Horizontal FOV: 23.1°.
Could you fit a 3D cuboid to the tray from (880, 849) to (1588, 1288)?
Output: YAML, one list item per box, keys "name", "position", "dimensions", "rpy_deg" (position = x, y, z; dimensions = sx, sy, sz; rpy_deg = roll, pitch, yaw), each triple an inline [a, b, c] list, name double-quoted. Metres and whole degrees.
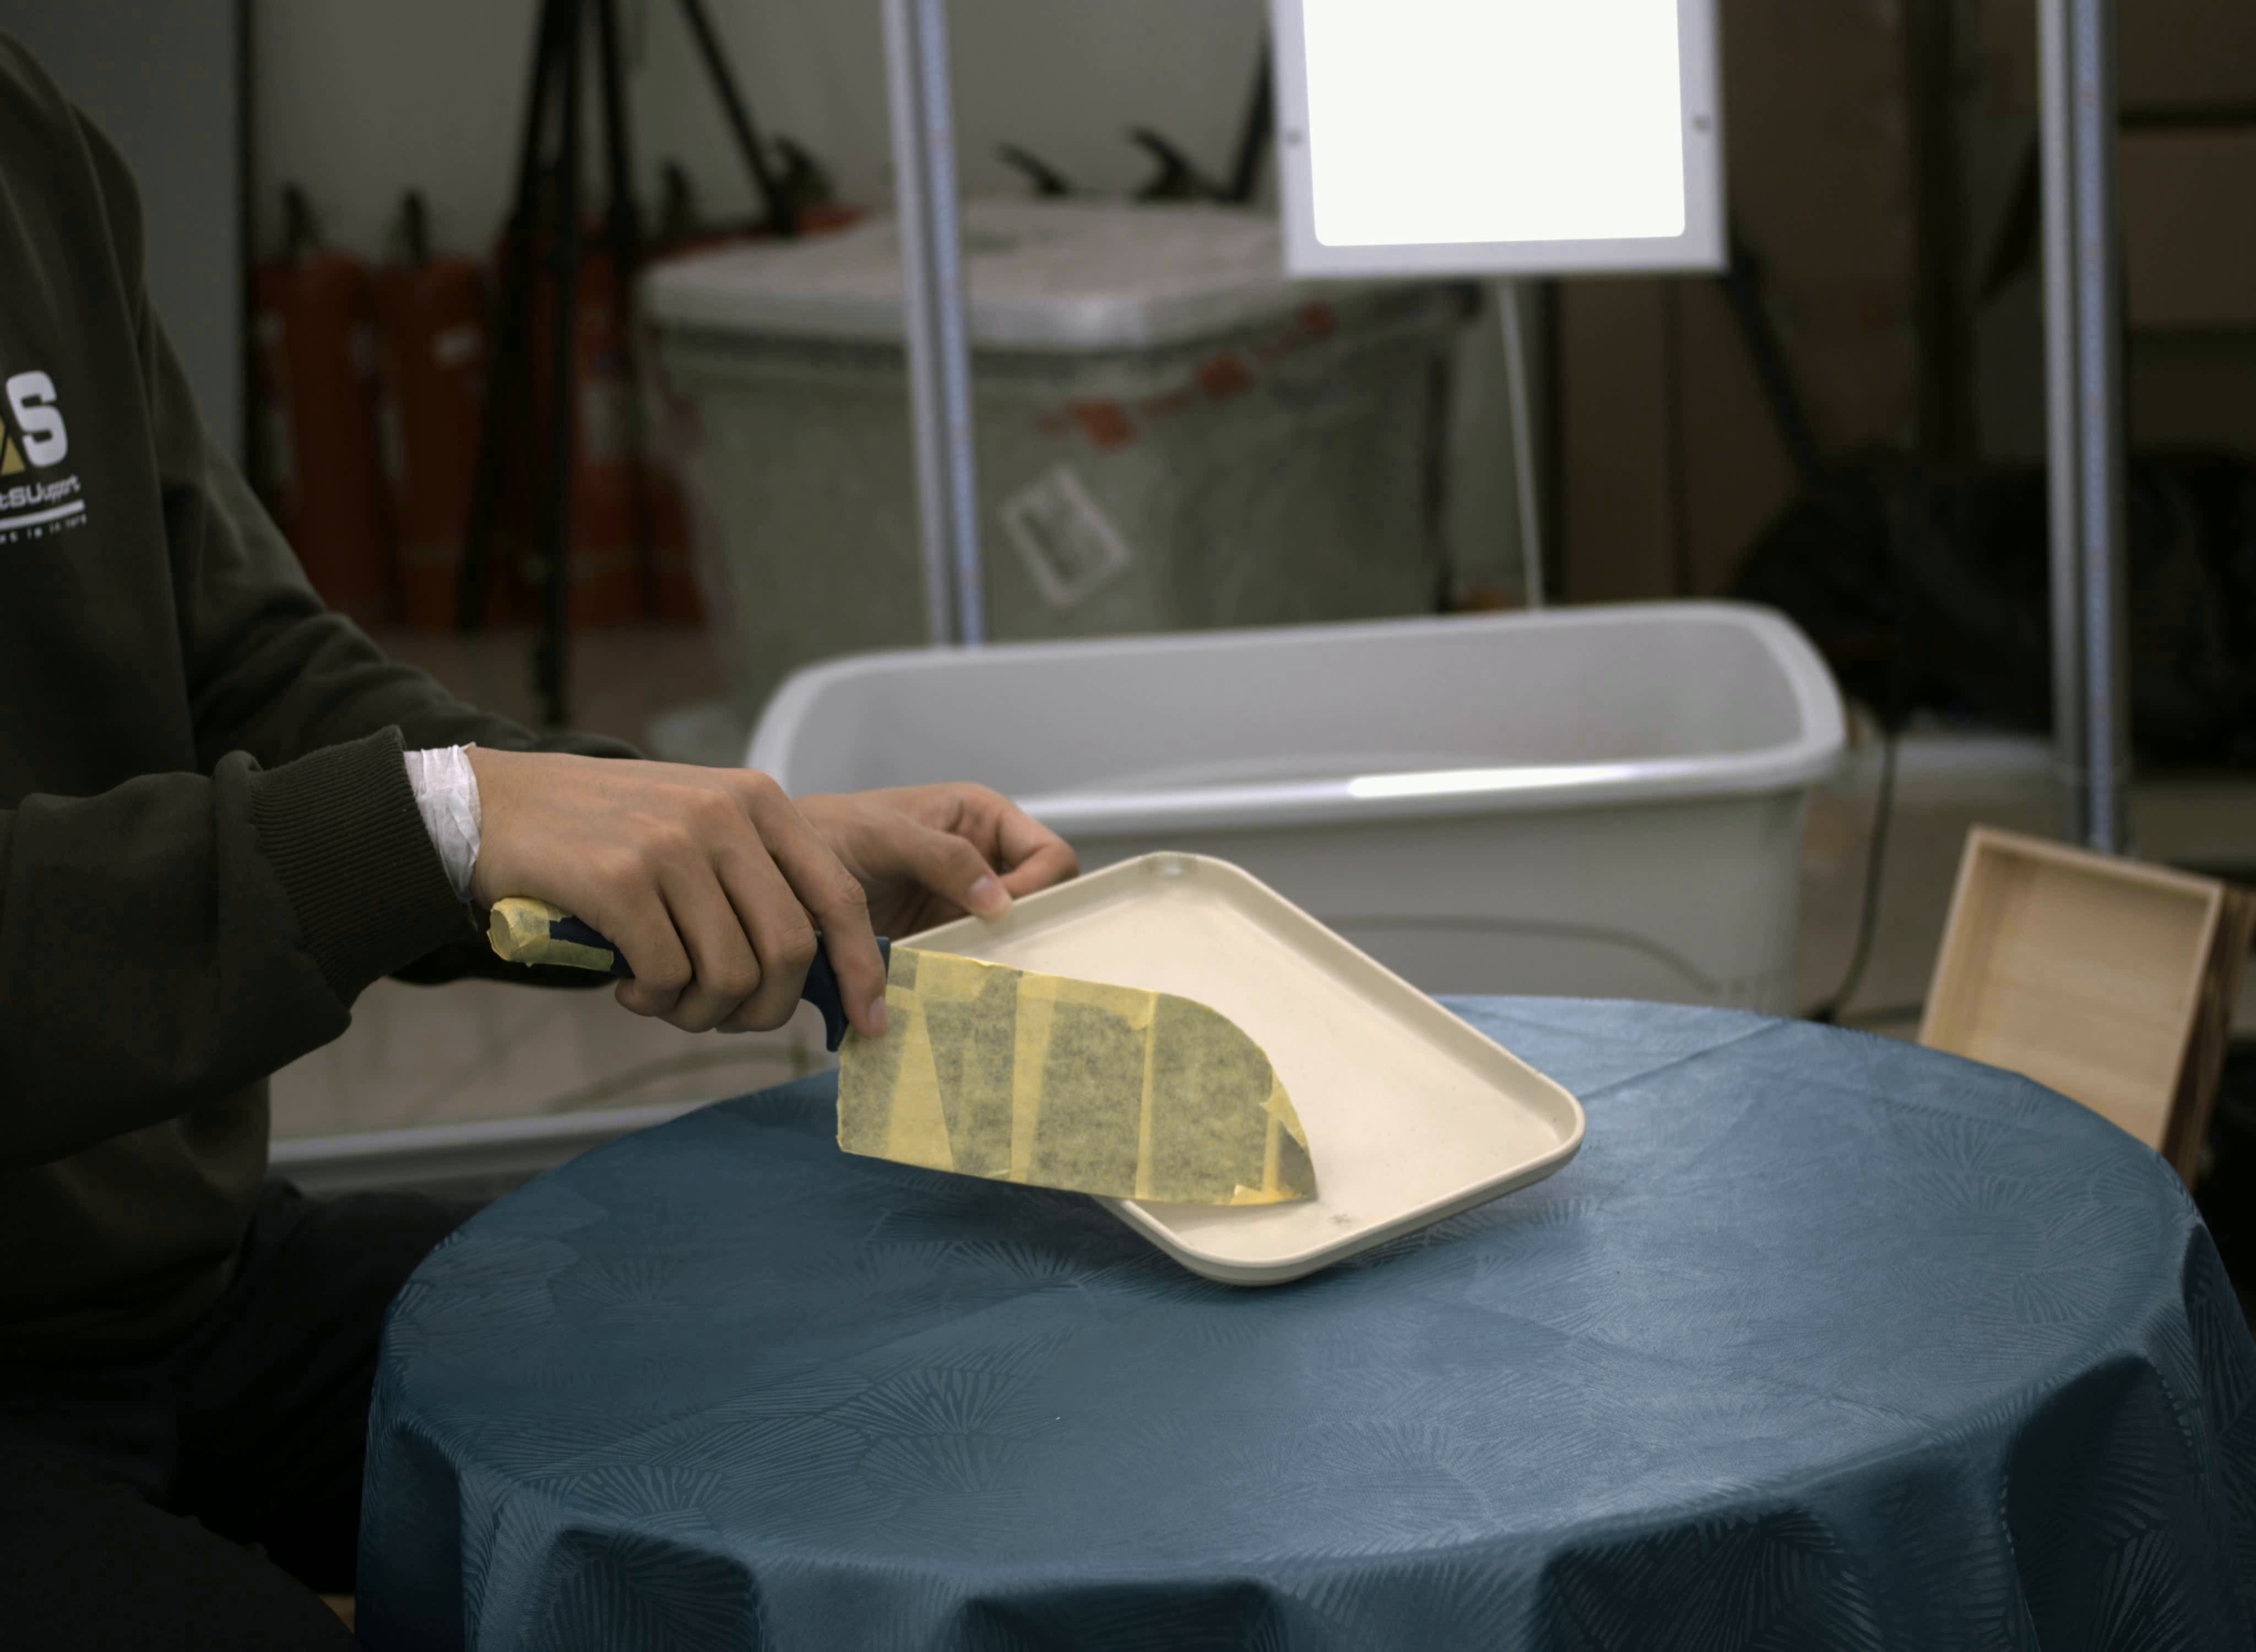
- name: "tray"
  position: [0.029, 0.082, 1.896]
  dimensions: [0.167, 0.017, 0.243]
  rpy_deg: [-20, 36, -31]

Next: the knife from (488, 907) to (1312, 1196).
- name: "knife"
  position: [-0.071, 0.074, 1.797]
  dimensions: [0.285, 0.081, 0.027]
  rpy_deg: [13, -22, -16]
